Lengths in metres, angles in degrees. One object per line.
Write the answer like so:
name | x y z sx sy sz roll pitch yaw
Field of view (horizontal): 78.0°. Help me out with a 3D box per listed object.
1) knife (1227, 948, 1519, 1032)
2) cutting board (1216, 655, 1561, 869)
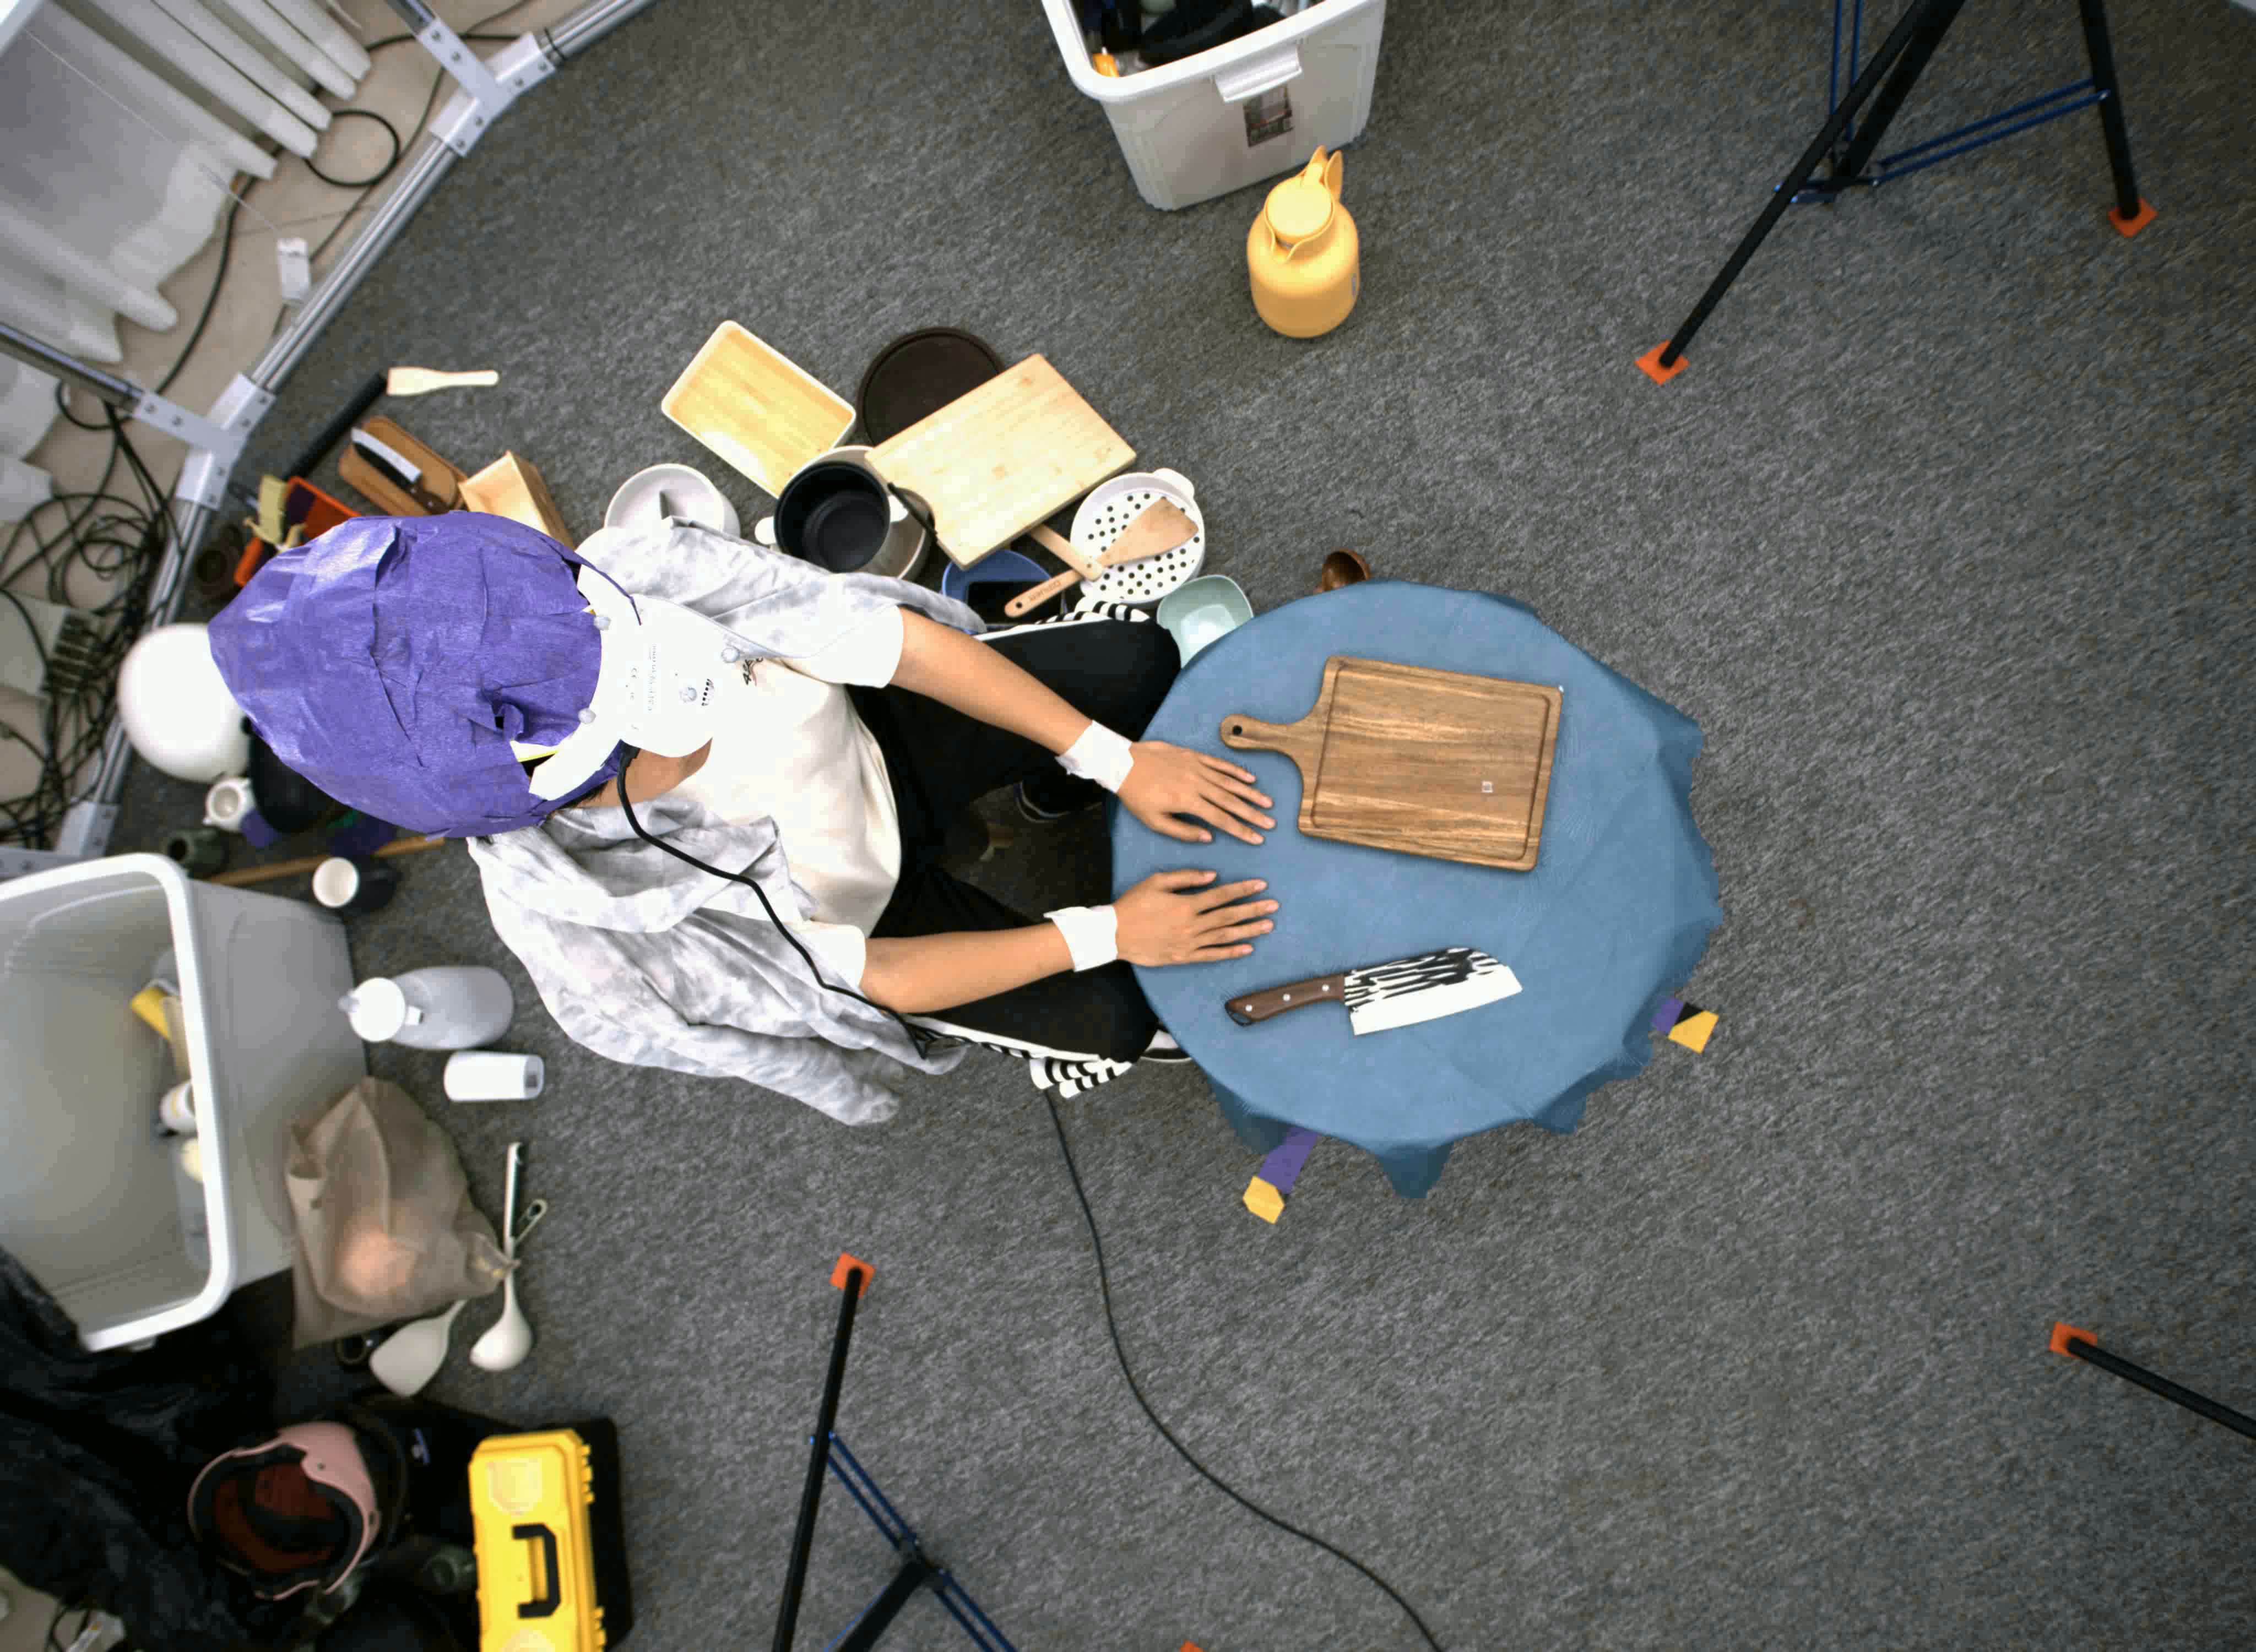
knife | 0.255 0.176 1.445 0.301 0.024 0.068 -12 87 7
cutting board | 0.268 -0.078 1.456 0.353 0.023 0.200 9 88 12
